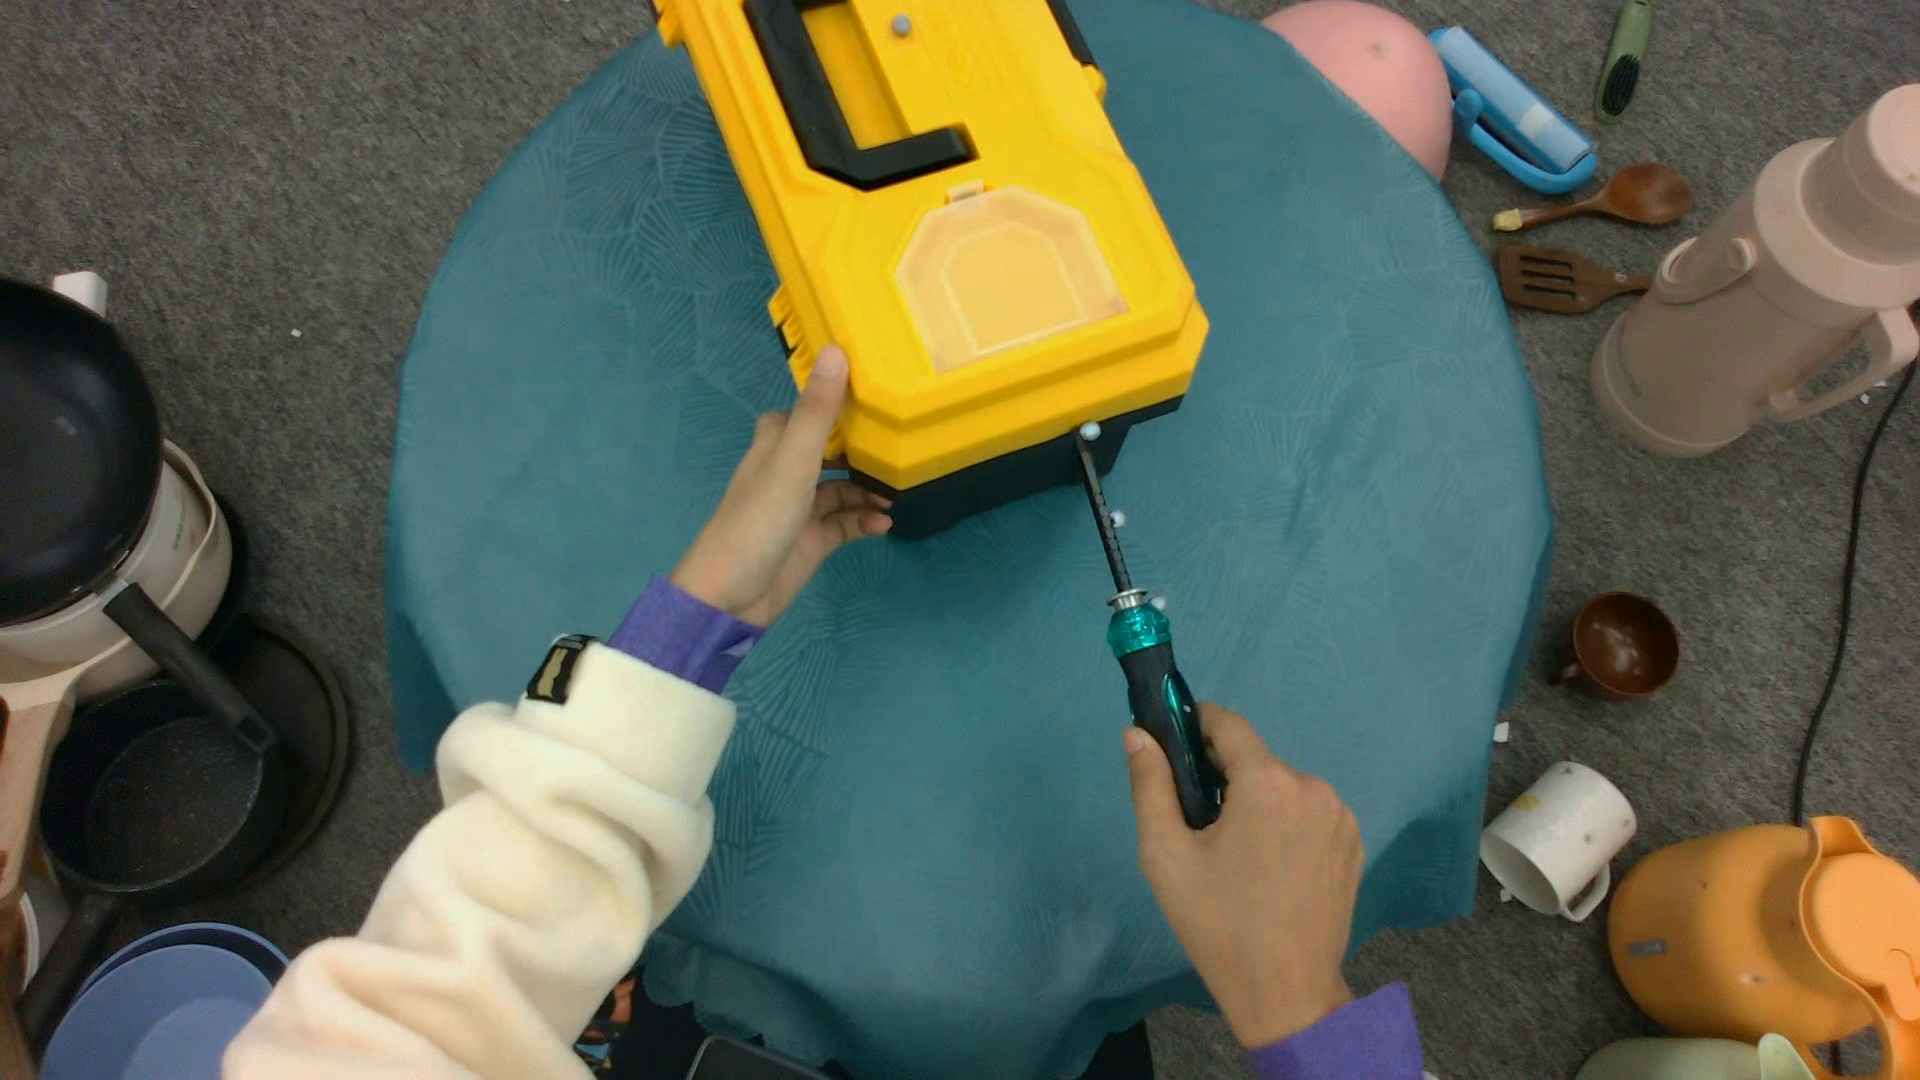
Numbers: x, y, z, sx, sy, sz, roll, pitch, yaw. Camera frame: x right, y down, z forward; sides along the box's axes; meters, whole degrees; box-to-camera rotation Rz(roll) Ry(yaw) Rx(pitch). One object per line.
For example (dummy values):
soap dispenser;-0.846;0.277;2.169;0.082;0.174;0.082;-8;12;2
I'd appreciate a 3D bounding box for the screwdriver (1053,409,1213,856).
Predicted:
screwdriver;0.065;0.034;0.564;0.034;0.033;0.190;-13;76;-8

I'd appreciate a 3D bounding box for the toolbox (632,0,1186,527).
toolbox;-0.040;-0.191;0.674;0.181;0.172;0.352;-19;72;-10
